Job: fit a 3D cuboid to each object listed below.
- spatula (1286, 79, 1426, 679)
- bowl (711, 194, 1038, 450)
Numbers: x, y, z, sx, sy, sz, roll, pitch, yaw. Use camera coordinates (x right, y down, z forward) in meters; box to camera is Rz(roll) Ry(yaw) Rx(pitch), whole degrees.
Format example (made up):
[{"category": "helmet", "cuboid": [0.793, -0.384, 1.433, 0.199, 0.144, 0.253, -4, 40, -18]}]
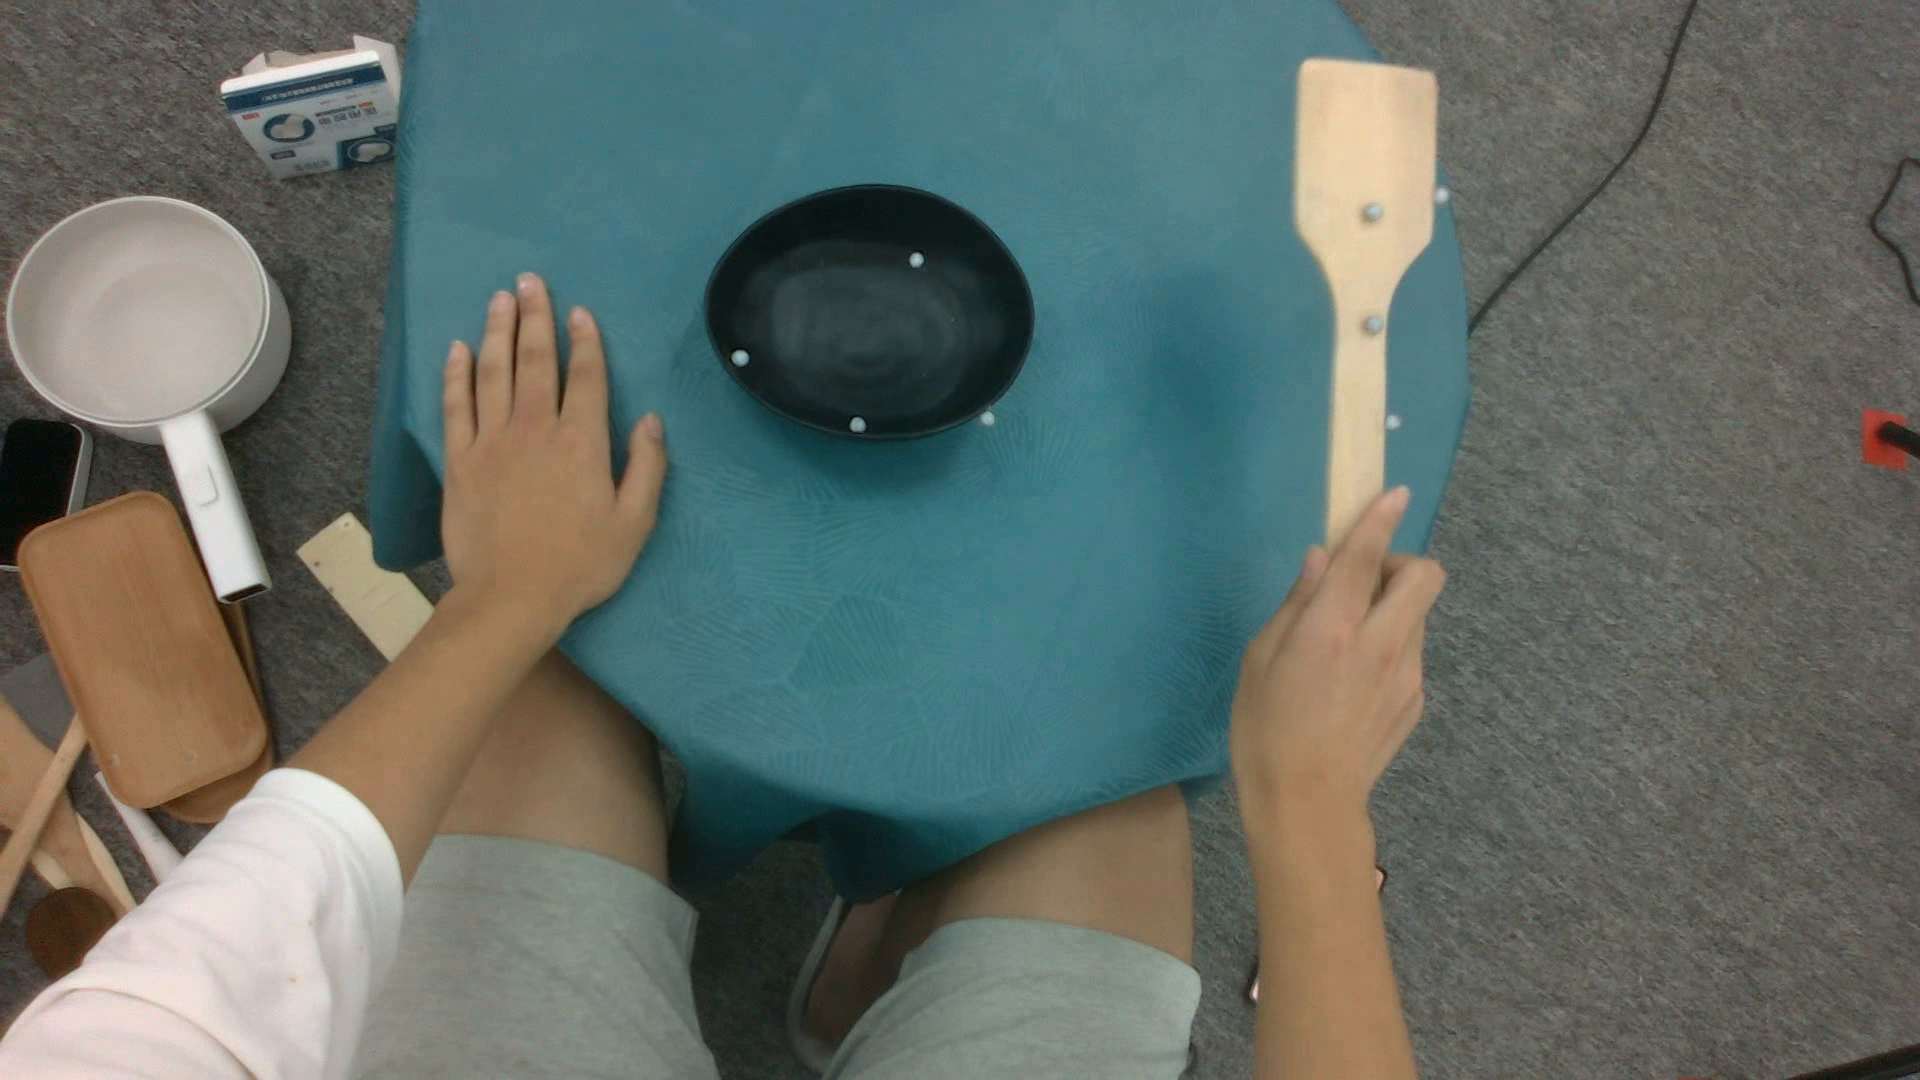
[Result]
[{"category": "spatula", "cuboid": [0.193, -0.079, 0.672, 0.072, 0.010, 0.293, 2, 87, -9]}, {"category": "bowl", "cuboid": [-0.046, -0.108, 0.738, 0.170, 0.066, 0.137, -2, 79, -7]}]
